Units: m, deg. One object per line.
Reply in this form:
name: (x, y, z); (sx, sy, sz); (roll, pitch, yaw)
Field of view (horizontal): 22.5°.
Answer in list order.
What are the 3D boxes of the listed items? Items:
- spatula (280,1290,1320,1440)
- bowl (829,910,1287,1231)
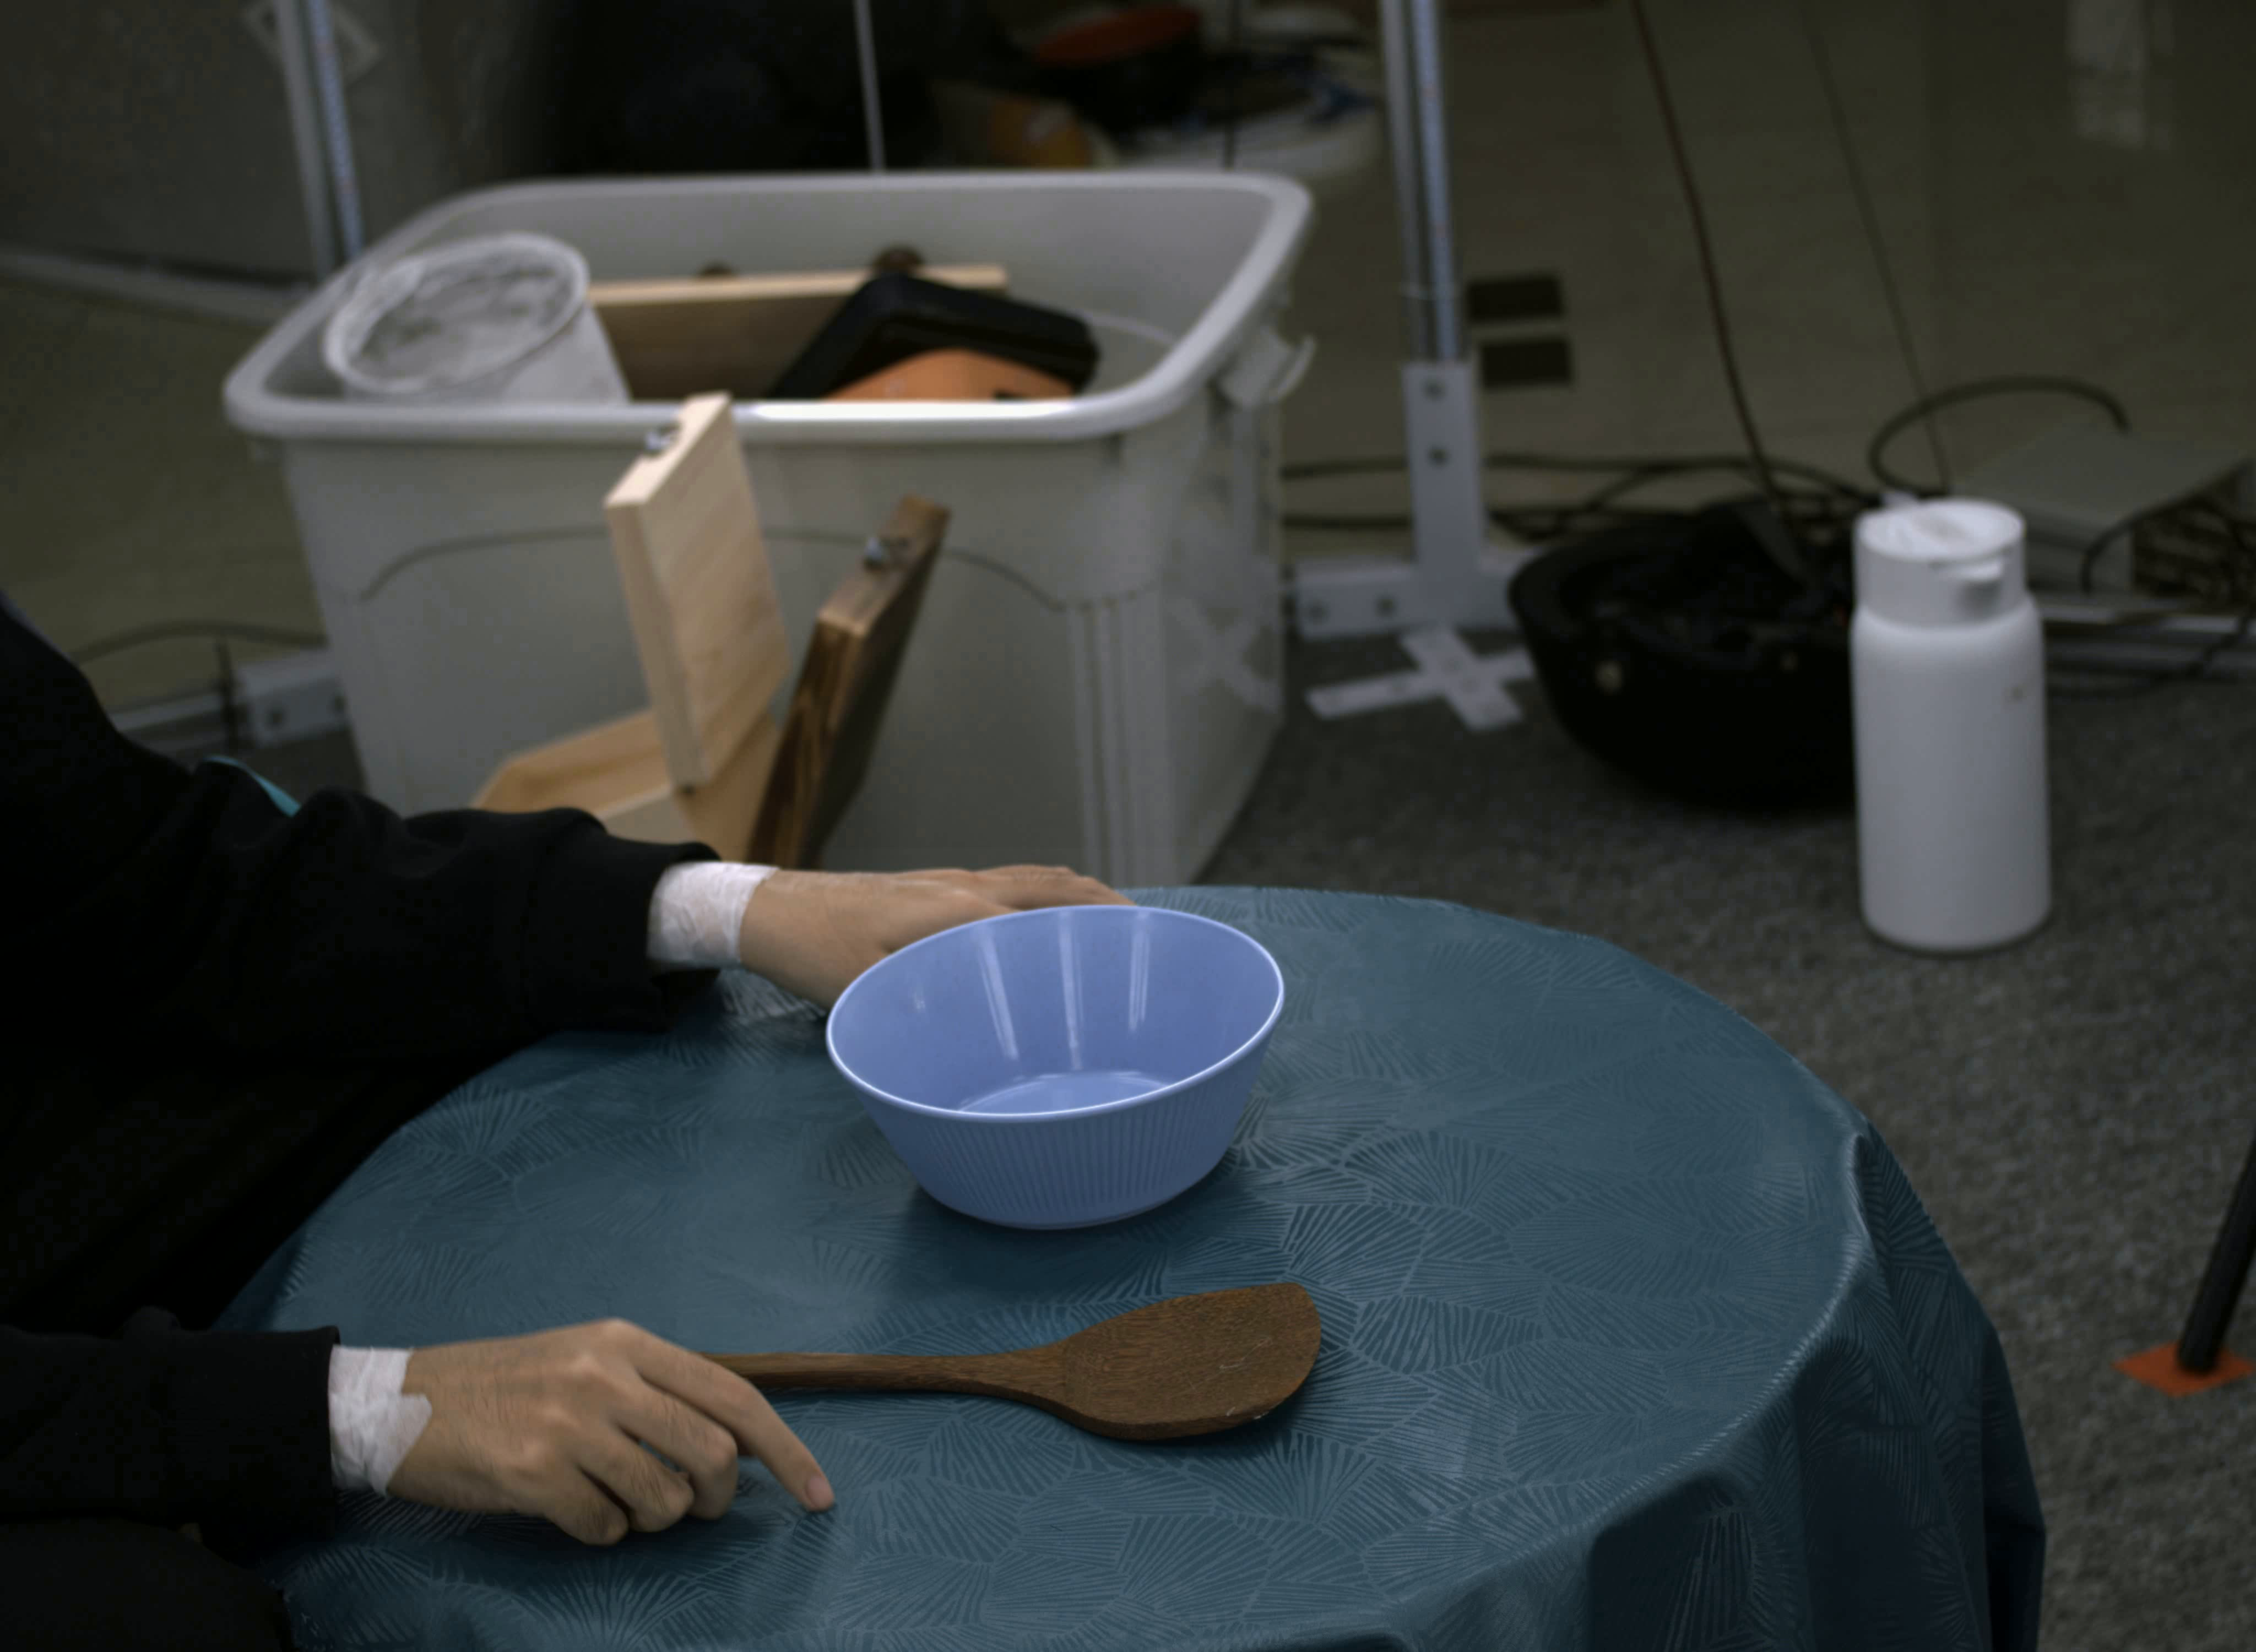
spatula: (-0.122, 0.197, 2.043); (0.385, 0.016, 0.095); (-2, 25, 10)
bowl: (-0.023, 0.099, 2.162); (0.176, 0.071, 0.173); (-6, 24, 3)
